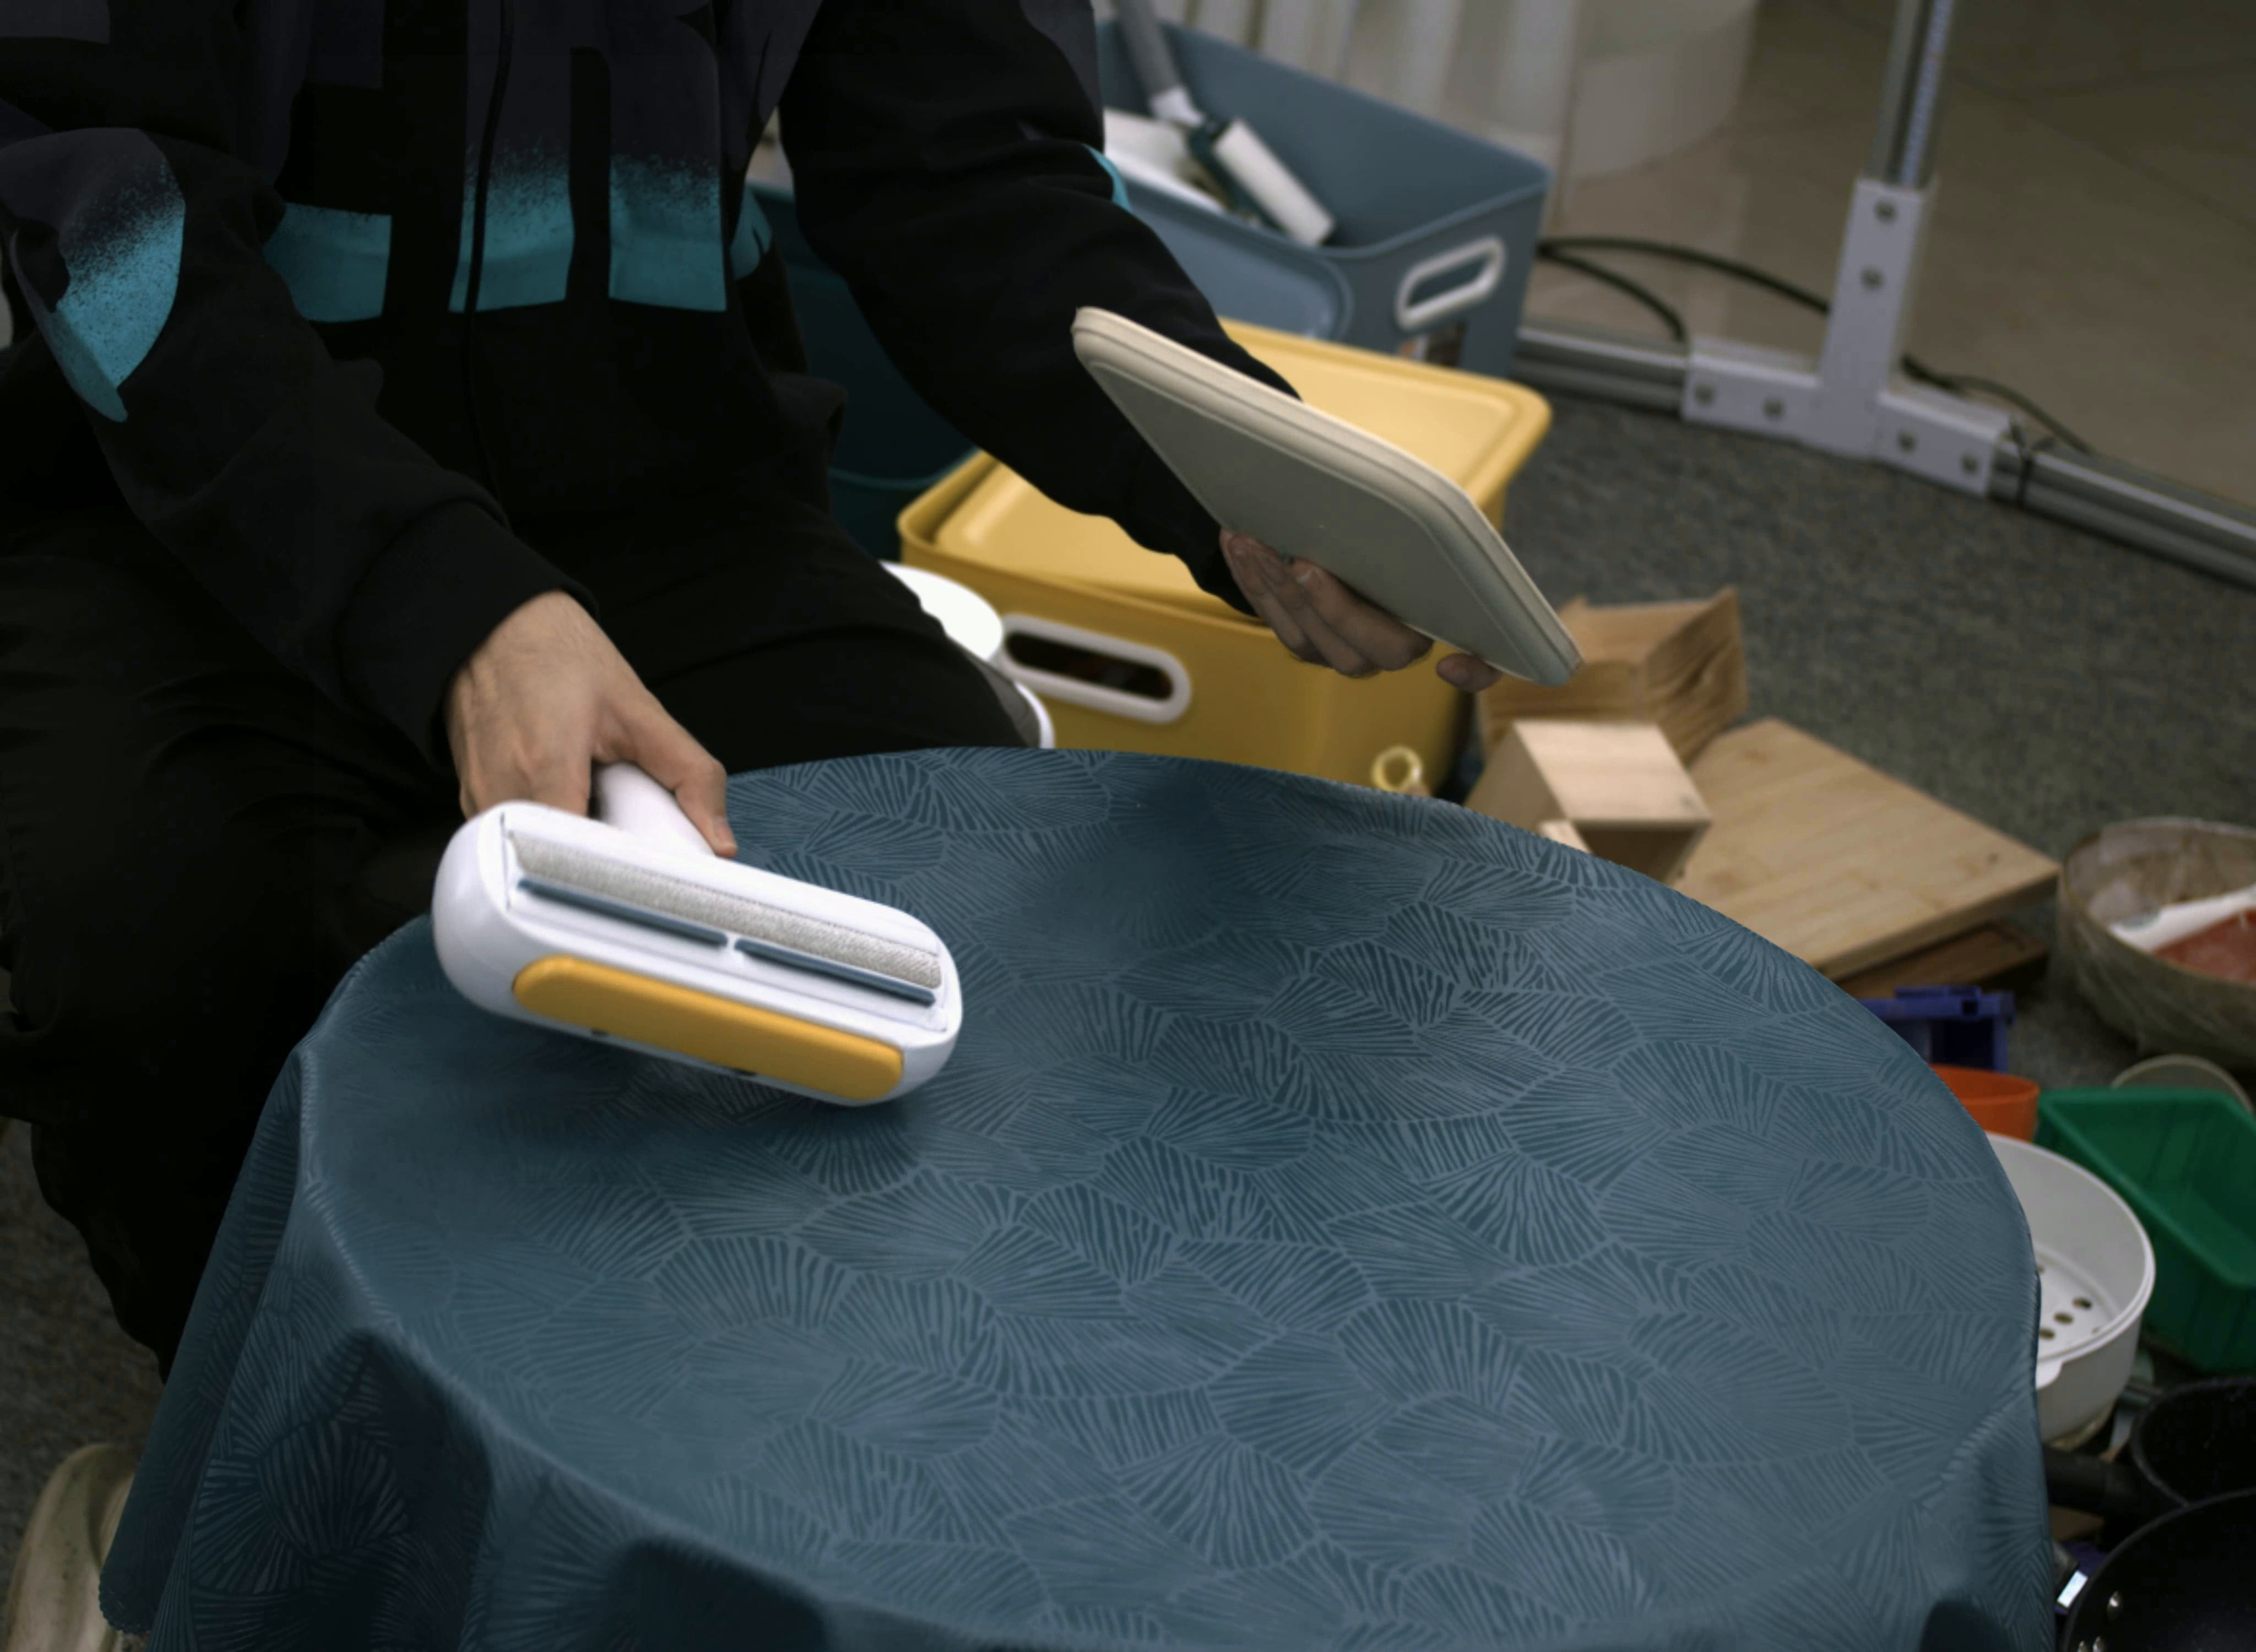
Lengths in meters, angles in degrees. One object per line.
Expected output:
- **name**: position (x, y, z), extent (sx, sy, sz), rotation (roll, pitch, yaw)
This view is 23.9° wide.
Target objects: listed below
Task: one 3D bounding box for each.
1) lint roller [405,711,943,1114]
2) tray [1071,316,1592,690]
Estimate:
- **lint roller**: position (-0.164, 0.013, 1.842), extent (0.191, 0.074, 0.194), rotation (14, 36, -22)
- **tray**: position (0.076, -0.115, 1.969), extent (0.172, 0.017, 0.238), rotation (25, -8, 24)
